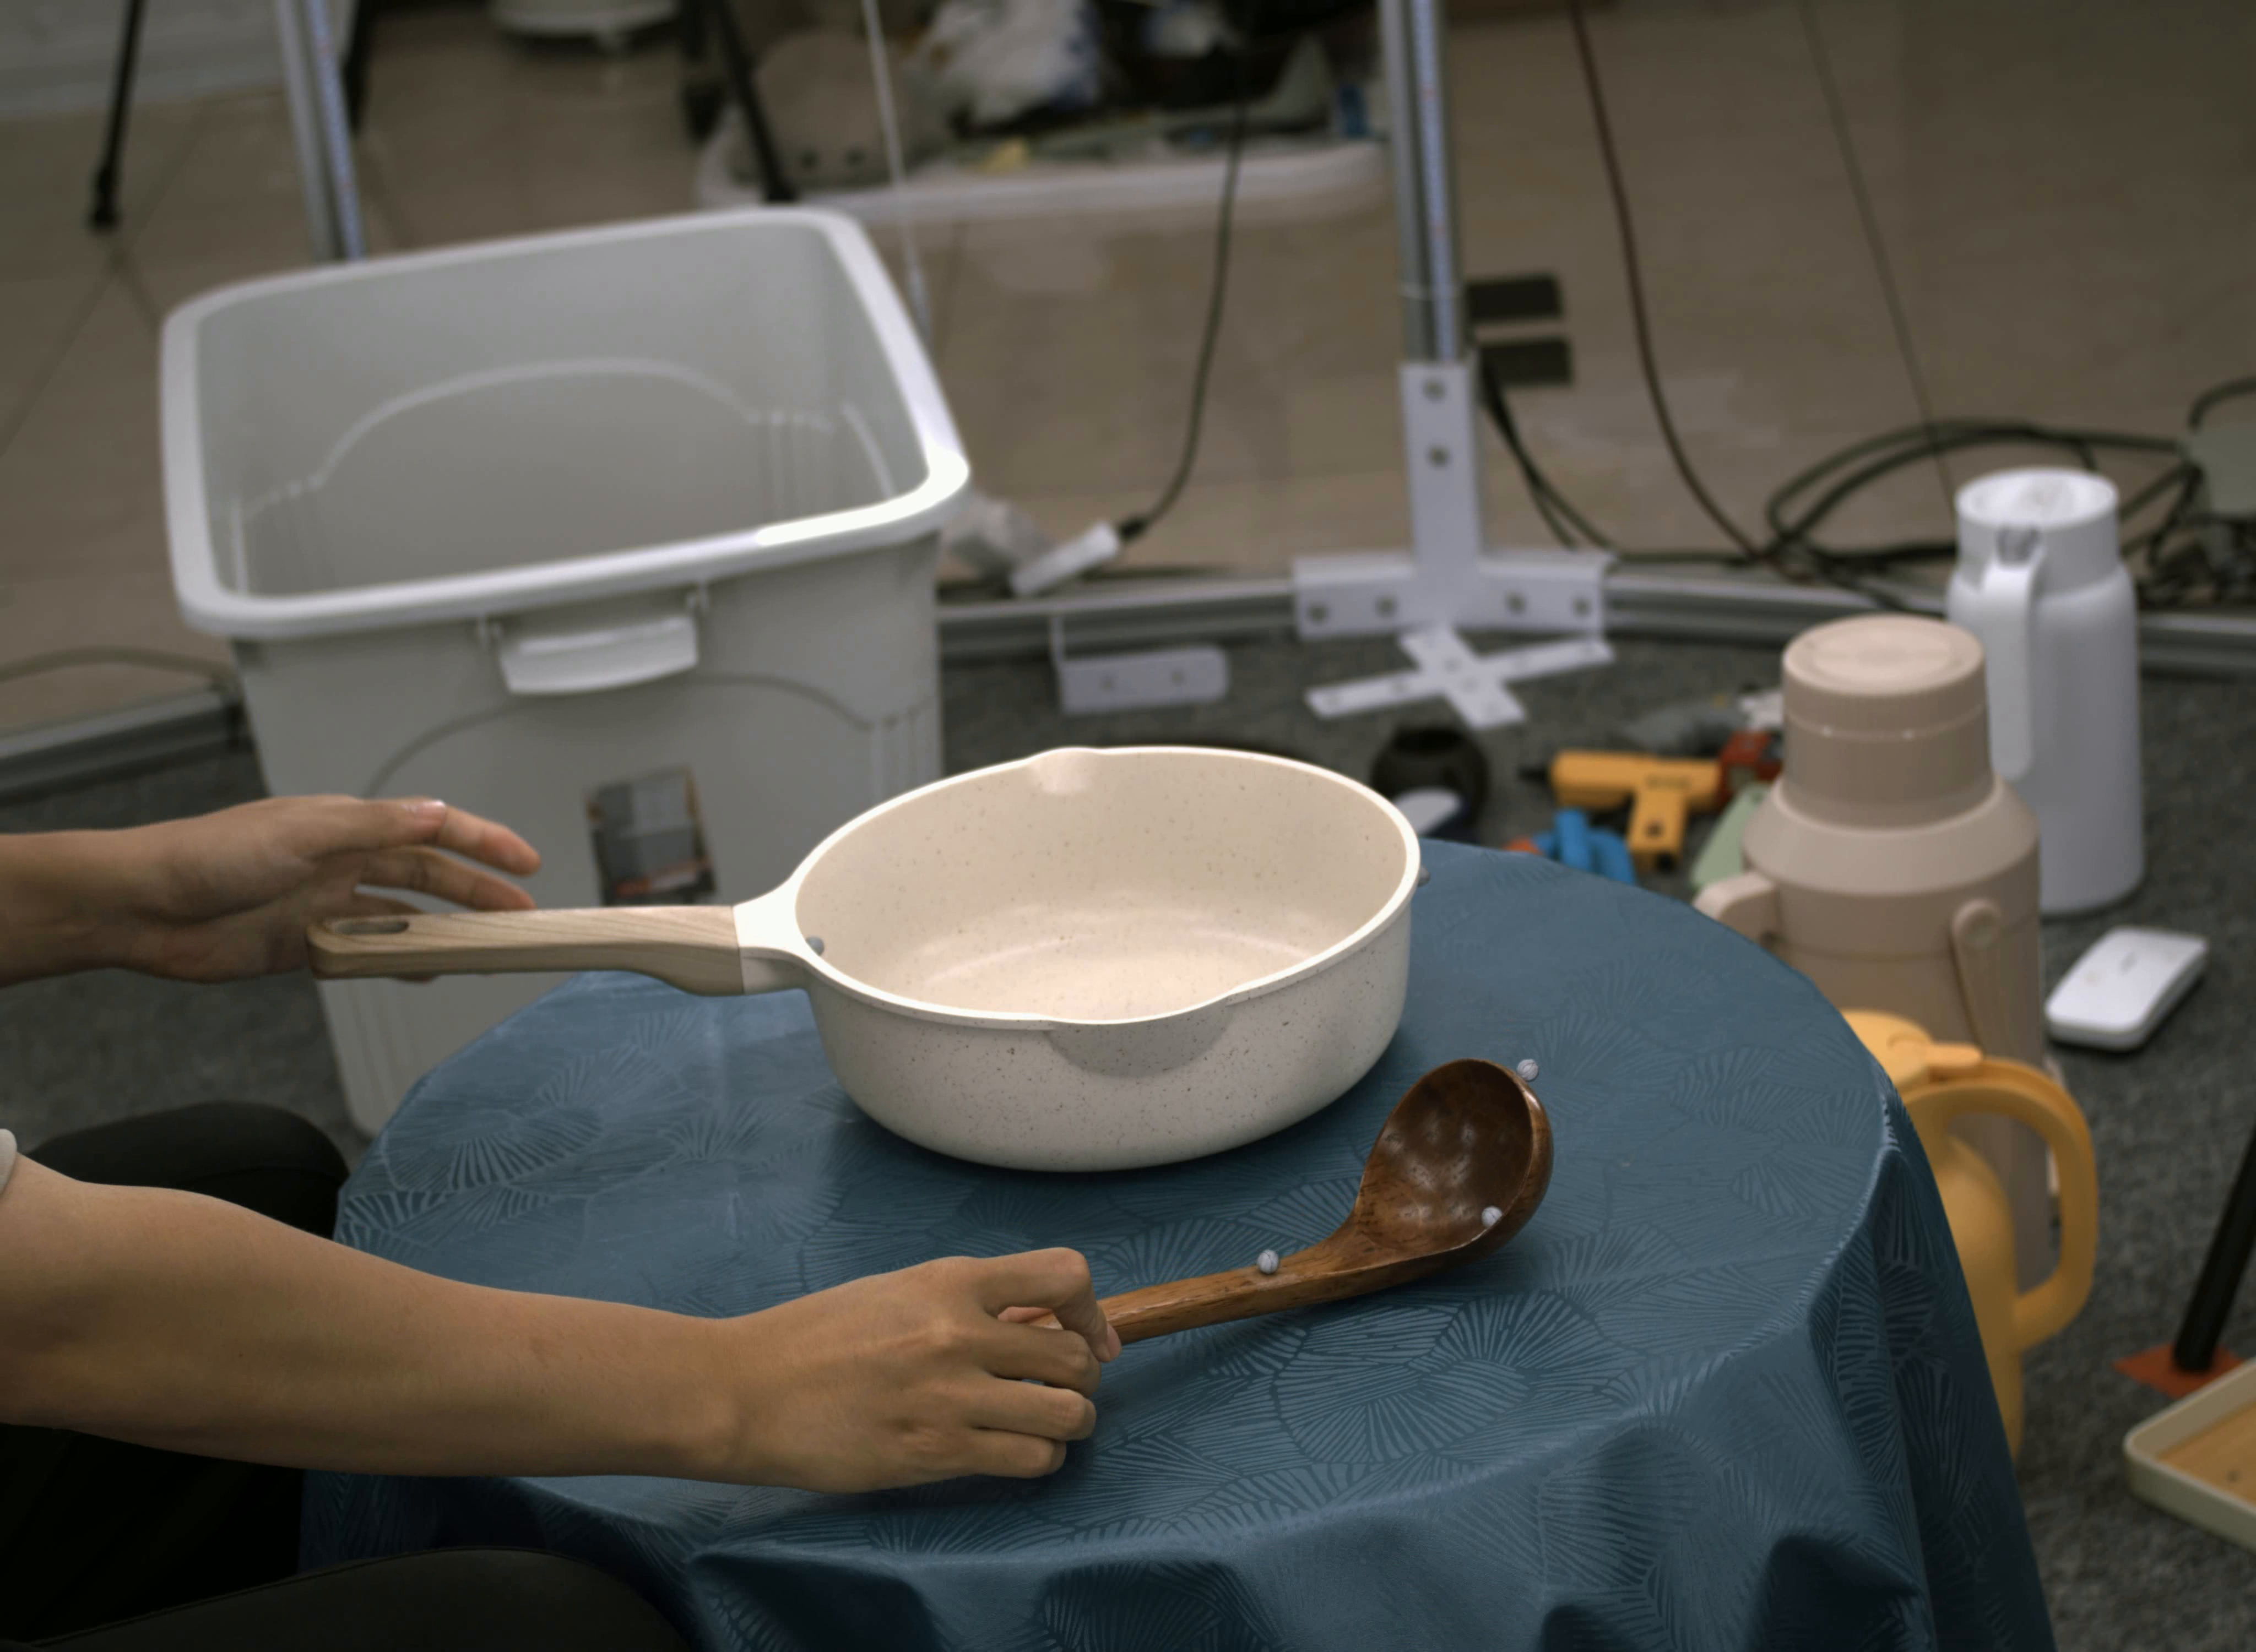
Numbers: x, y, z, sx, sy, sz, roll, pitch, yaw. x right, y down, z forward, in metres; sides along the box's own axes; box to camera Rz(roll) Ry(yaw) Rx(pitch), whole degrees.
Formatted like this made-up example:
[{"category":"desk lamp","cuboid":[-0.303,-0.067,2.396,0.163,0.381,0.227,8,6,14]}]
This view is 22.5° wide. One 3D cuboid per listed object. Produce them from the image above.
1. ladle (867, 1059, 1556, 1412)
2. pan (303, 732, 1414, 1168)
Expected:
[{"category":"ladle","cuboid":[0.032,0.144,2.020,0.273,0.077,0.081,-11,21,-29]},{"category":"pan","cuboid":[-0.100,0.059,2.228,0.434,0.103,0.259,-8,26,-5]}]
